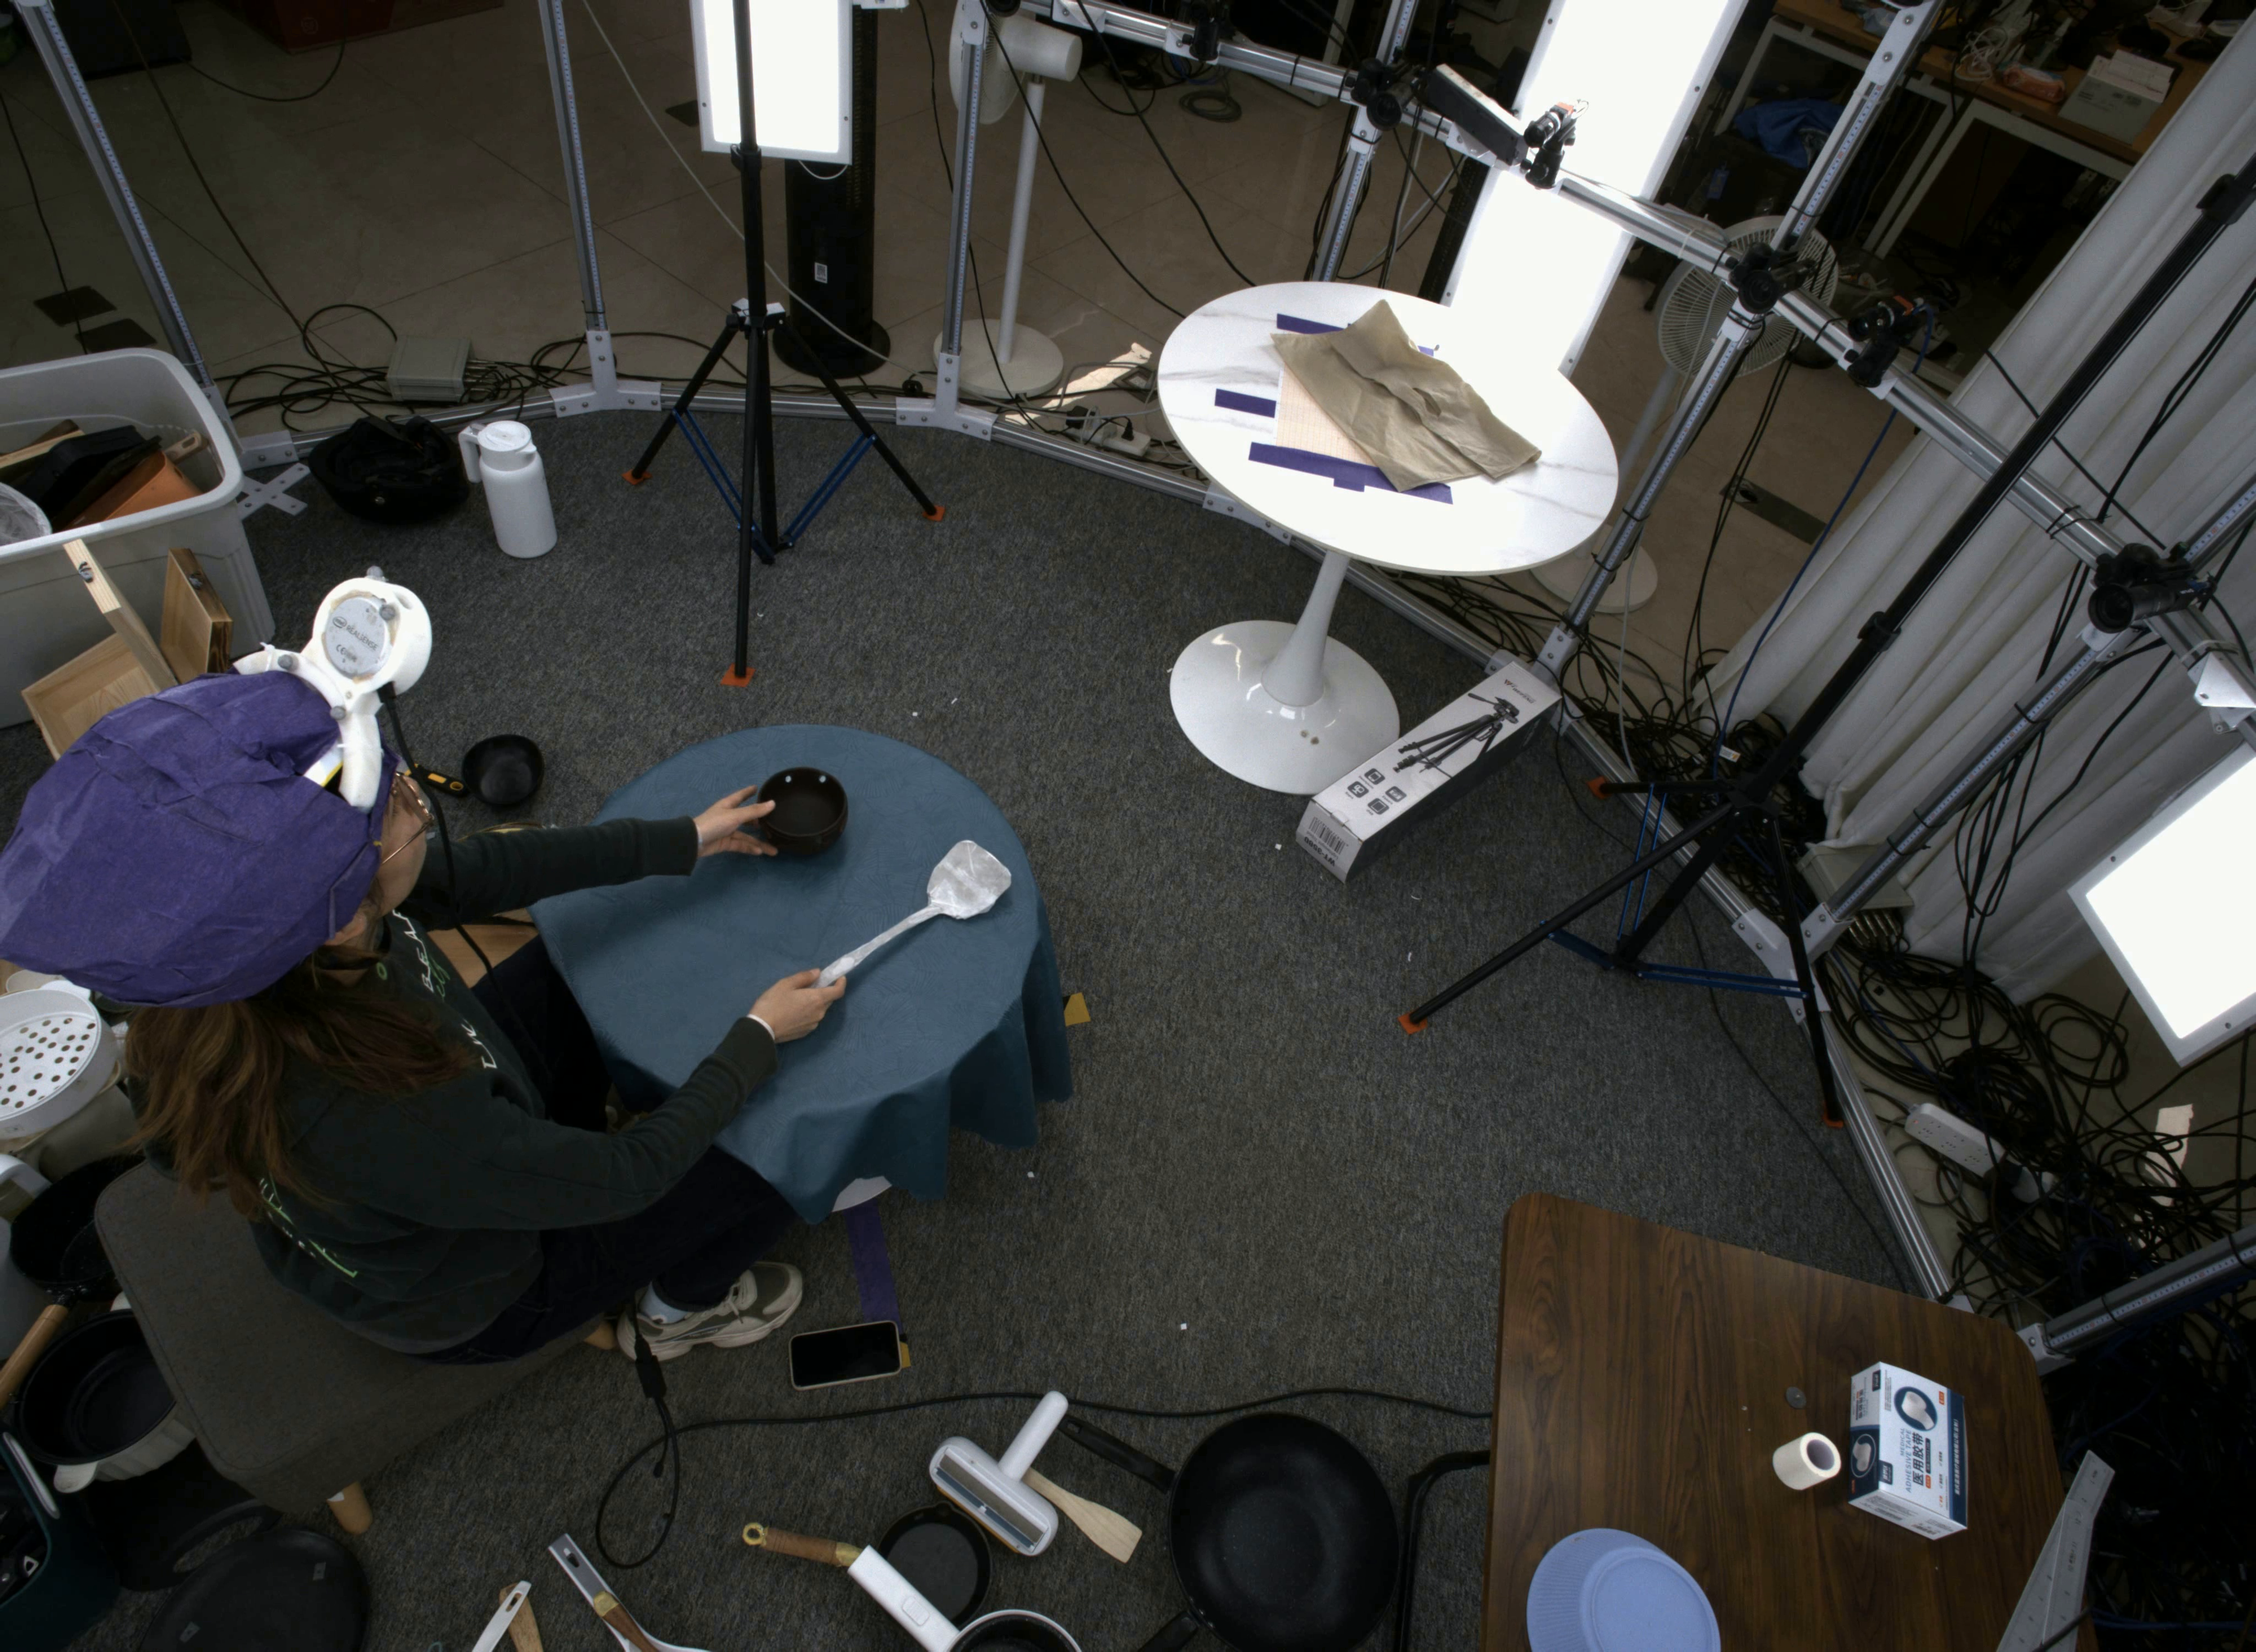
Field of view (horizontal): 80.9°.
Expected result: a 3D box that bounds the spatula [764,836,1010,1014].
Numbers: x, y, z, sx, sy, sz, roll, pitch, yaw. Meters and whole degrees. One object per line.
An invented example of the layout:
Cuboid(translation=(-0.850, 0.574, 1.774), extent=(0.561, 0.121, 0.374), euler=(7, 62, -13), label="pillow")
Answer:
Cuboid(translation=(-0.301, 0.129, 1.629), extent=(0.096, 0.045, 0.366), euler=(41, 50, 18), label="spatula")

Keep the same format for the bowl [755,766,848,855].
Cuboid(translation=(-0.425, -0.013, 1.693), extent=(0.117, 0.071, 0.116), euler=(6, 52, -7), label="bowl")
